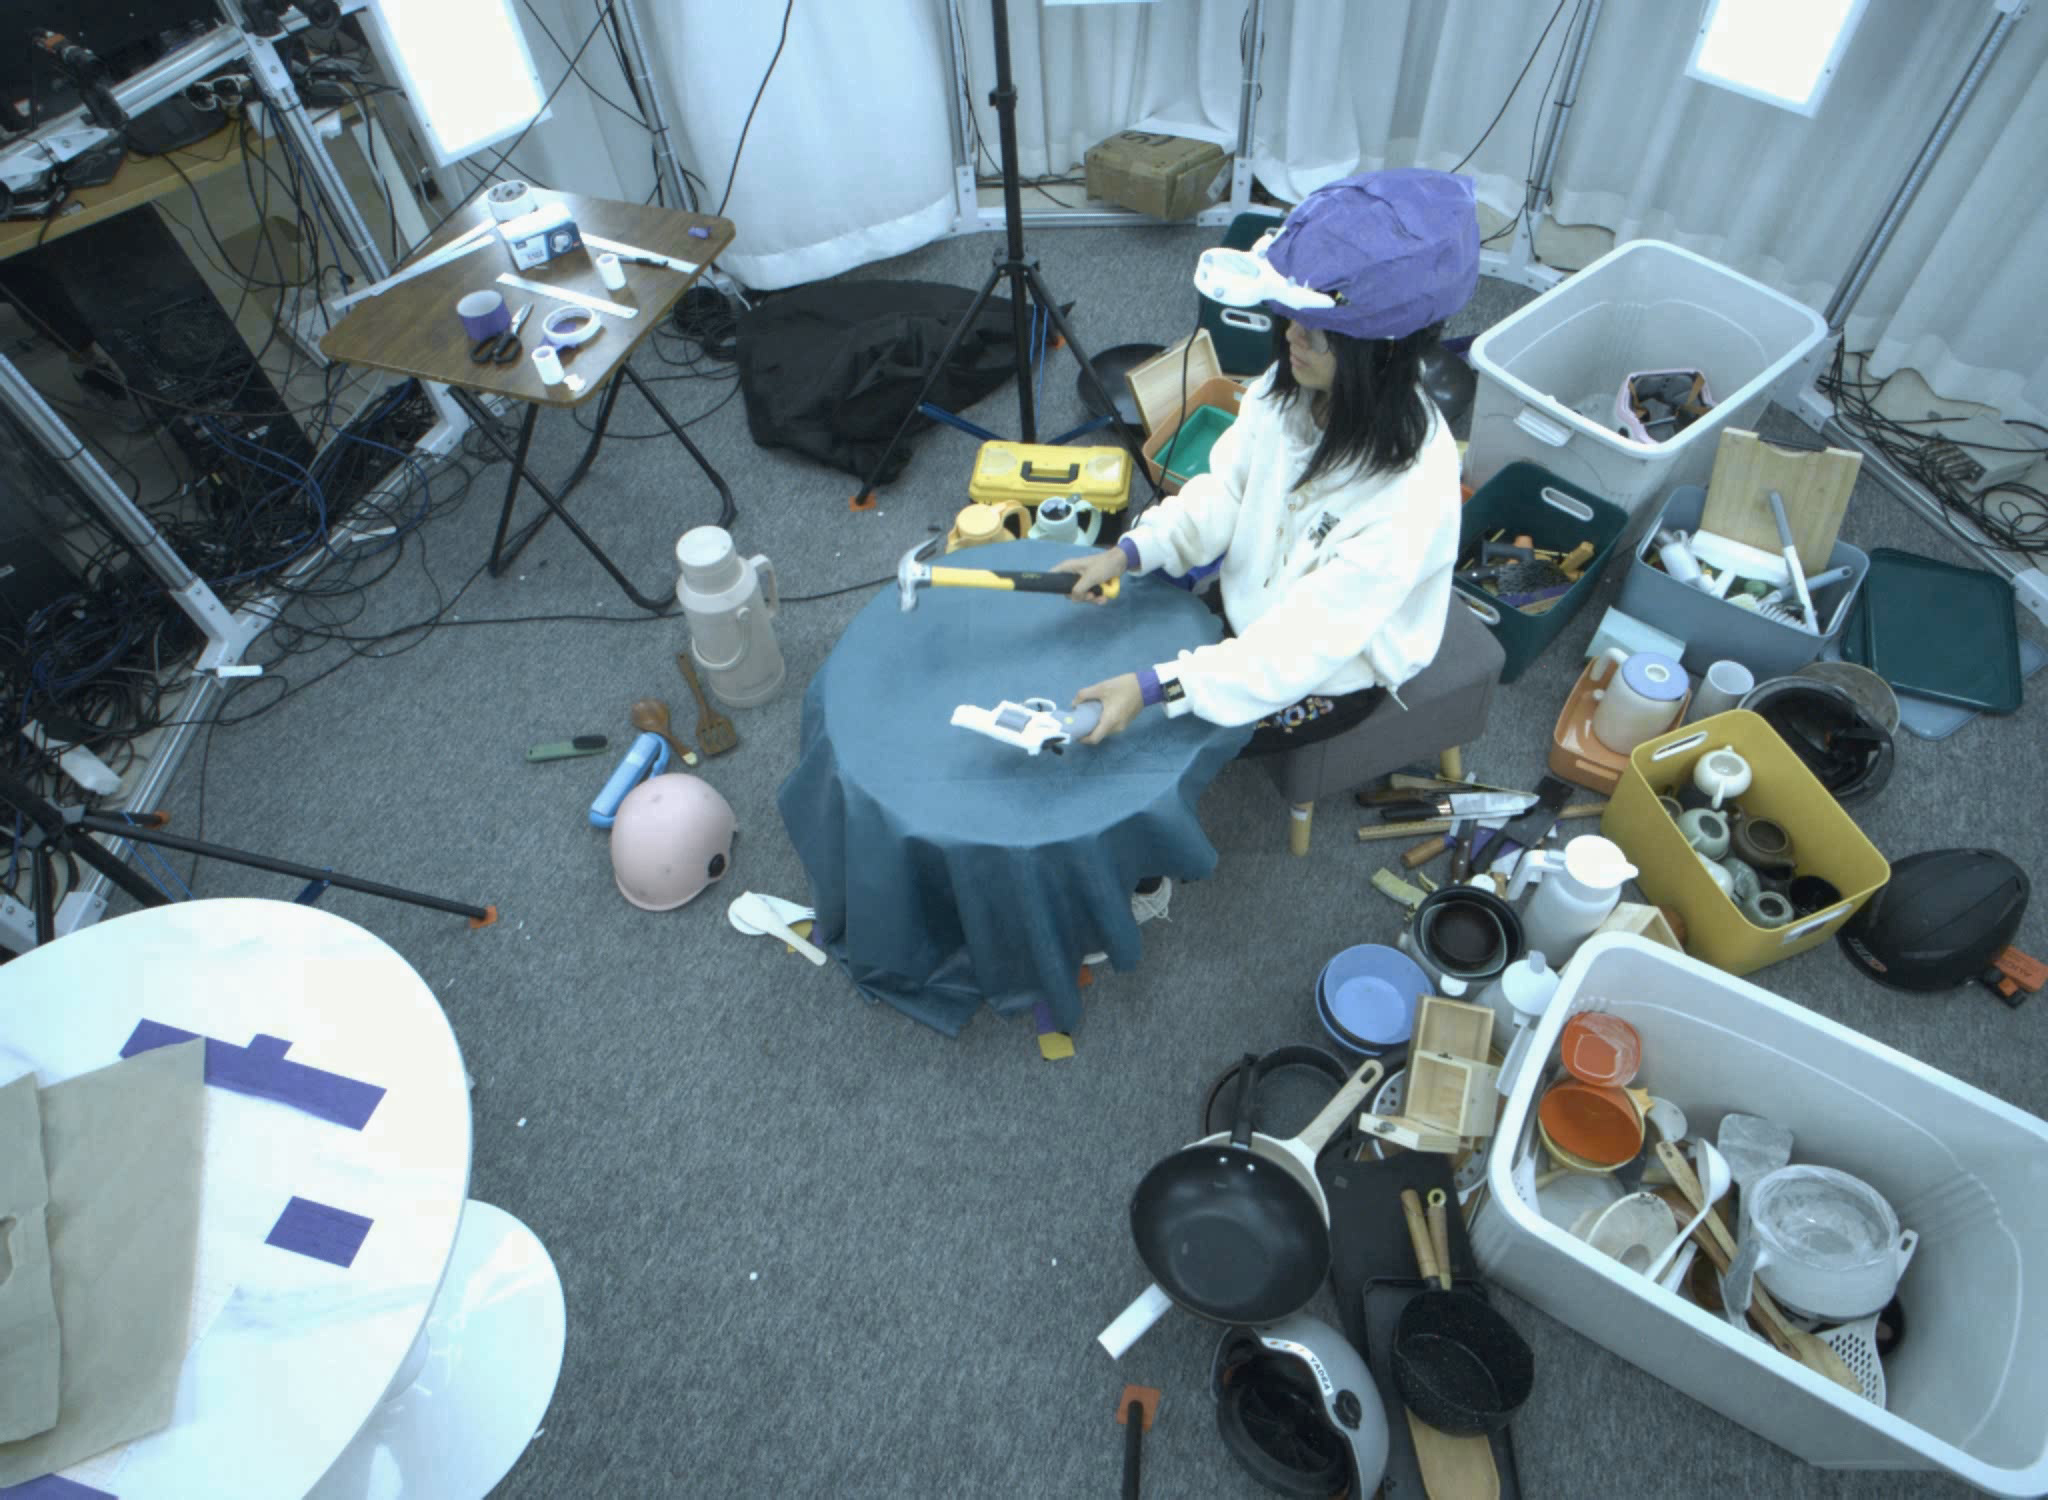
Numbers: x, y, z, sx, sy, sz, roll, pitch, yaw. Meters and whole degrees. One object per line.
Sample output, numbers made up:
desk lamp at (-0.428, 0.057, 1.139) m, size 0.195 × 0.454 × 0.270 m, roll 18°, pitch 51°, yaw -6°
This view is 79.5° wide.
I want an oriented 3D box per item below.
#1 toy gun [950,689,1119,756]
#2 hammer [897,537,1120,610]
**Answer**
toy gun at (0.017, -0.052, 1.744) m, size 0.207 × 0.039 × 0.142 m, roll 18°, pitch 49°, yaw 13°
hammer at (-0.022, -0.262, 1.849) m, size 0.341 × 0.032 × 0.130 m, roll 1°, pitch 53°, yaw -9°
